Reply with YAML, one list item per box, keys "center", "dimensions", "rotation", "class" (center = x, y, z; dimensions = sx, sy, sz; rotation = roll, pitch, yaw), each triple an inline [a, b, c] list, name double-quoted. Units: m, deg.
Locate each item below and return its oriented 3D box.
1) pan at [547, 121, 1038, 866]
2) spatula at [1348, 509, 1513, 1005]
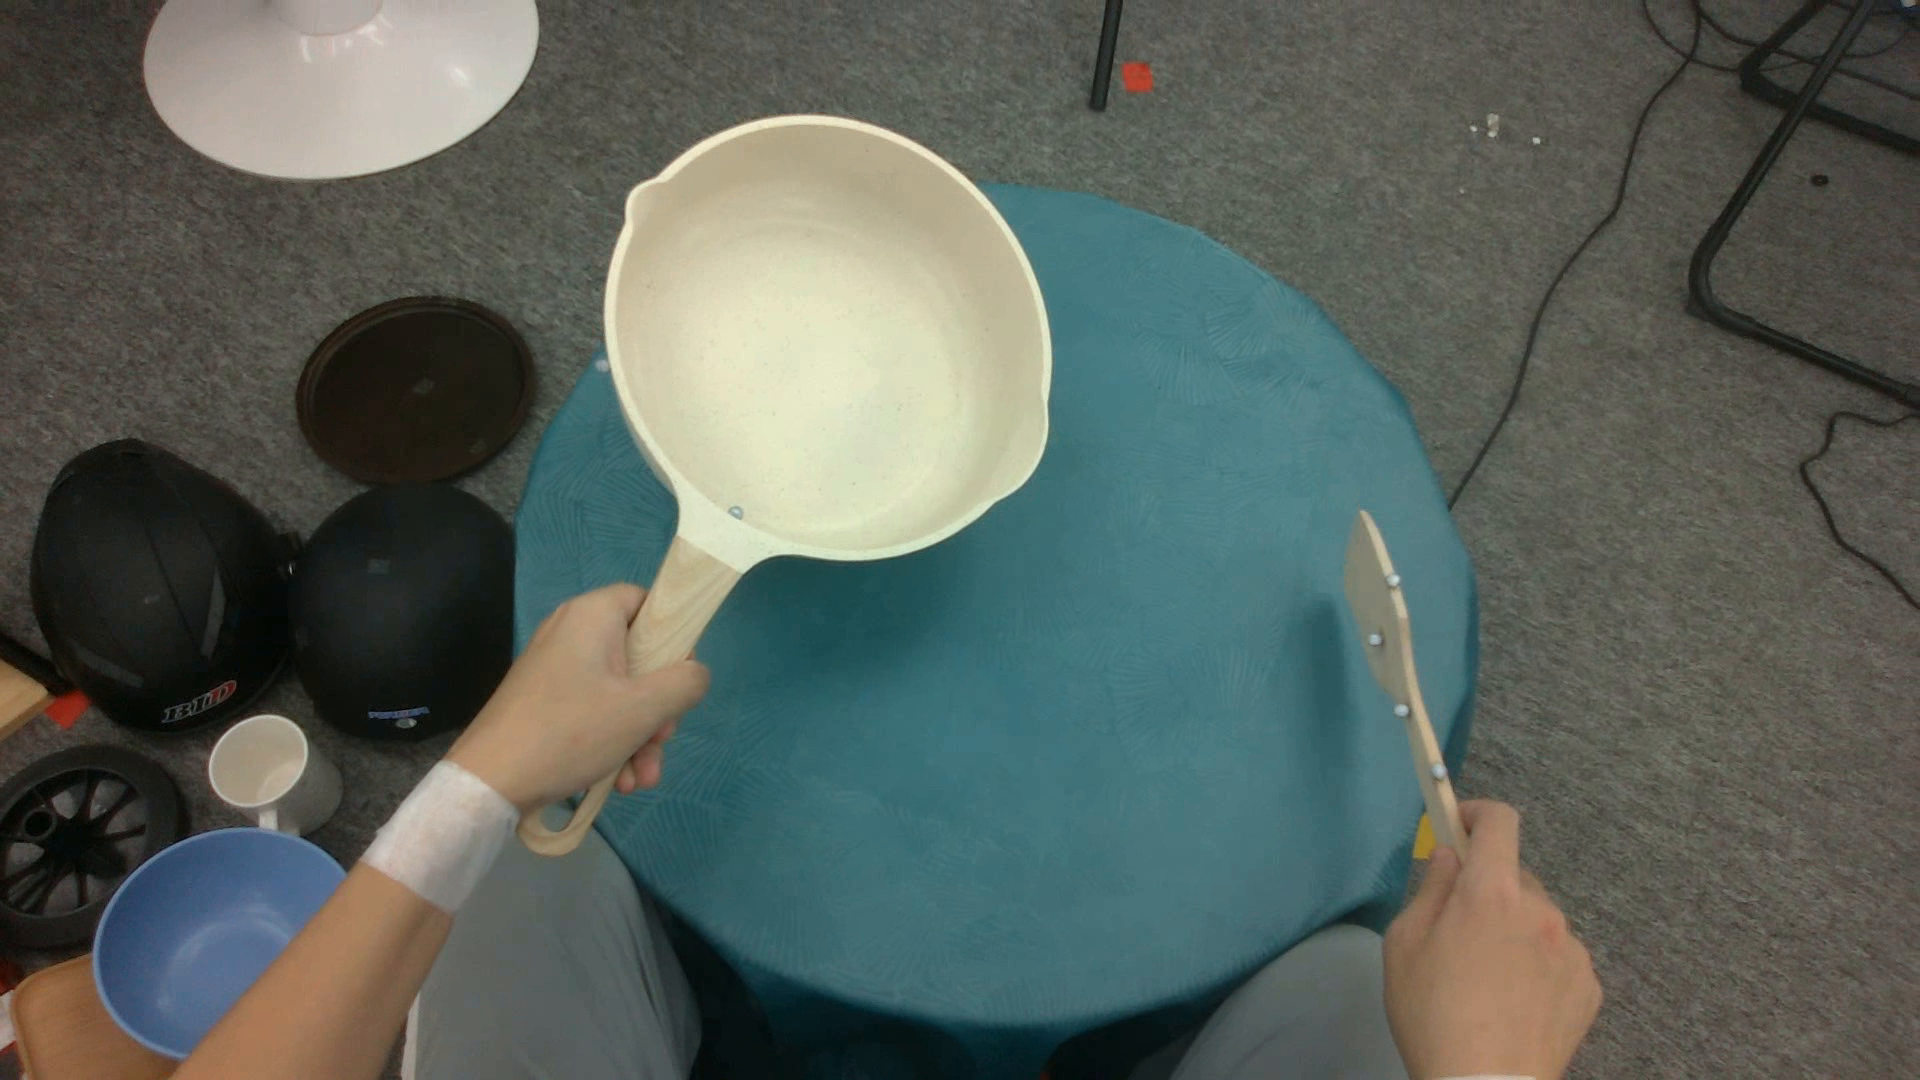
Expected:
- center: [-0.119, -0.029, 0.762]
  dimensions: [0.263, 0.101, 0.436]
  rotation: [30, 71, -14]
  class: "pan"
- center: [0.251, 0.107, 0.744]
  dimensions: [0.010, 0.072, 0.294]
  rotation: [-4, 47, 1]
  class: "spatula"
